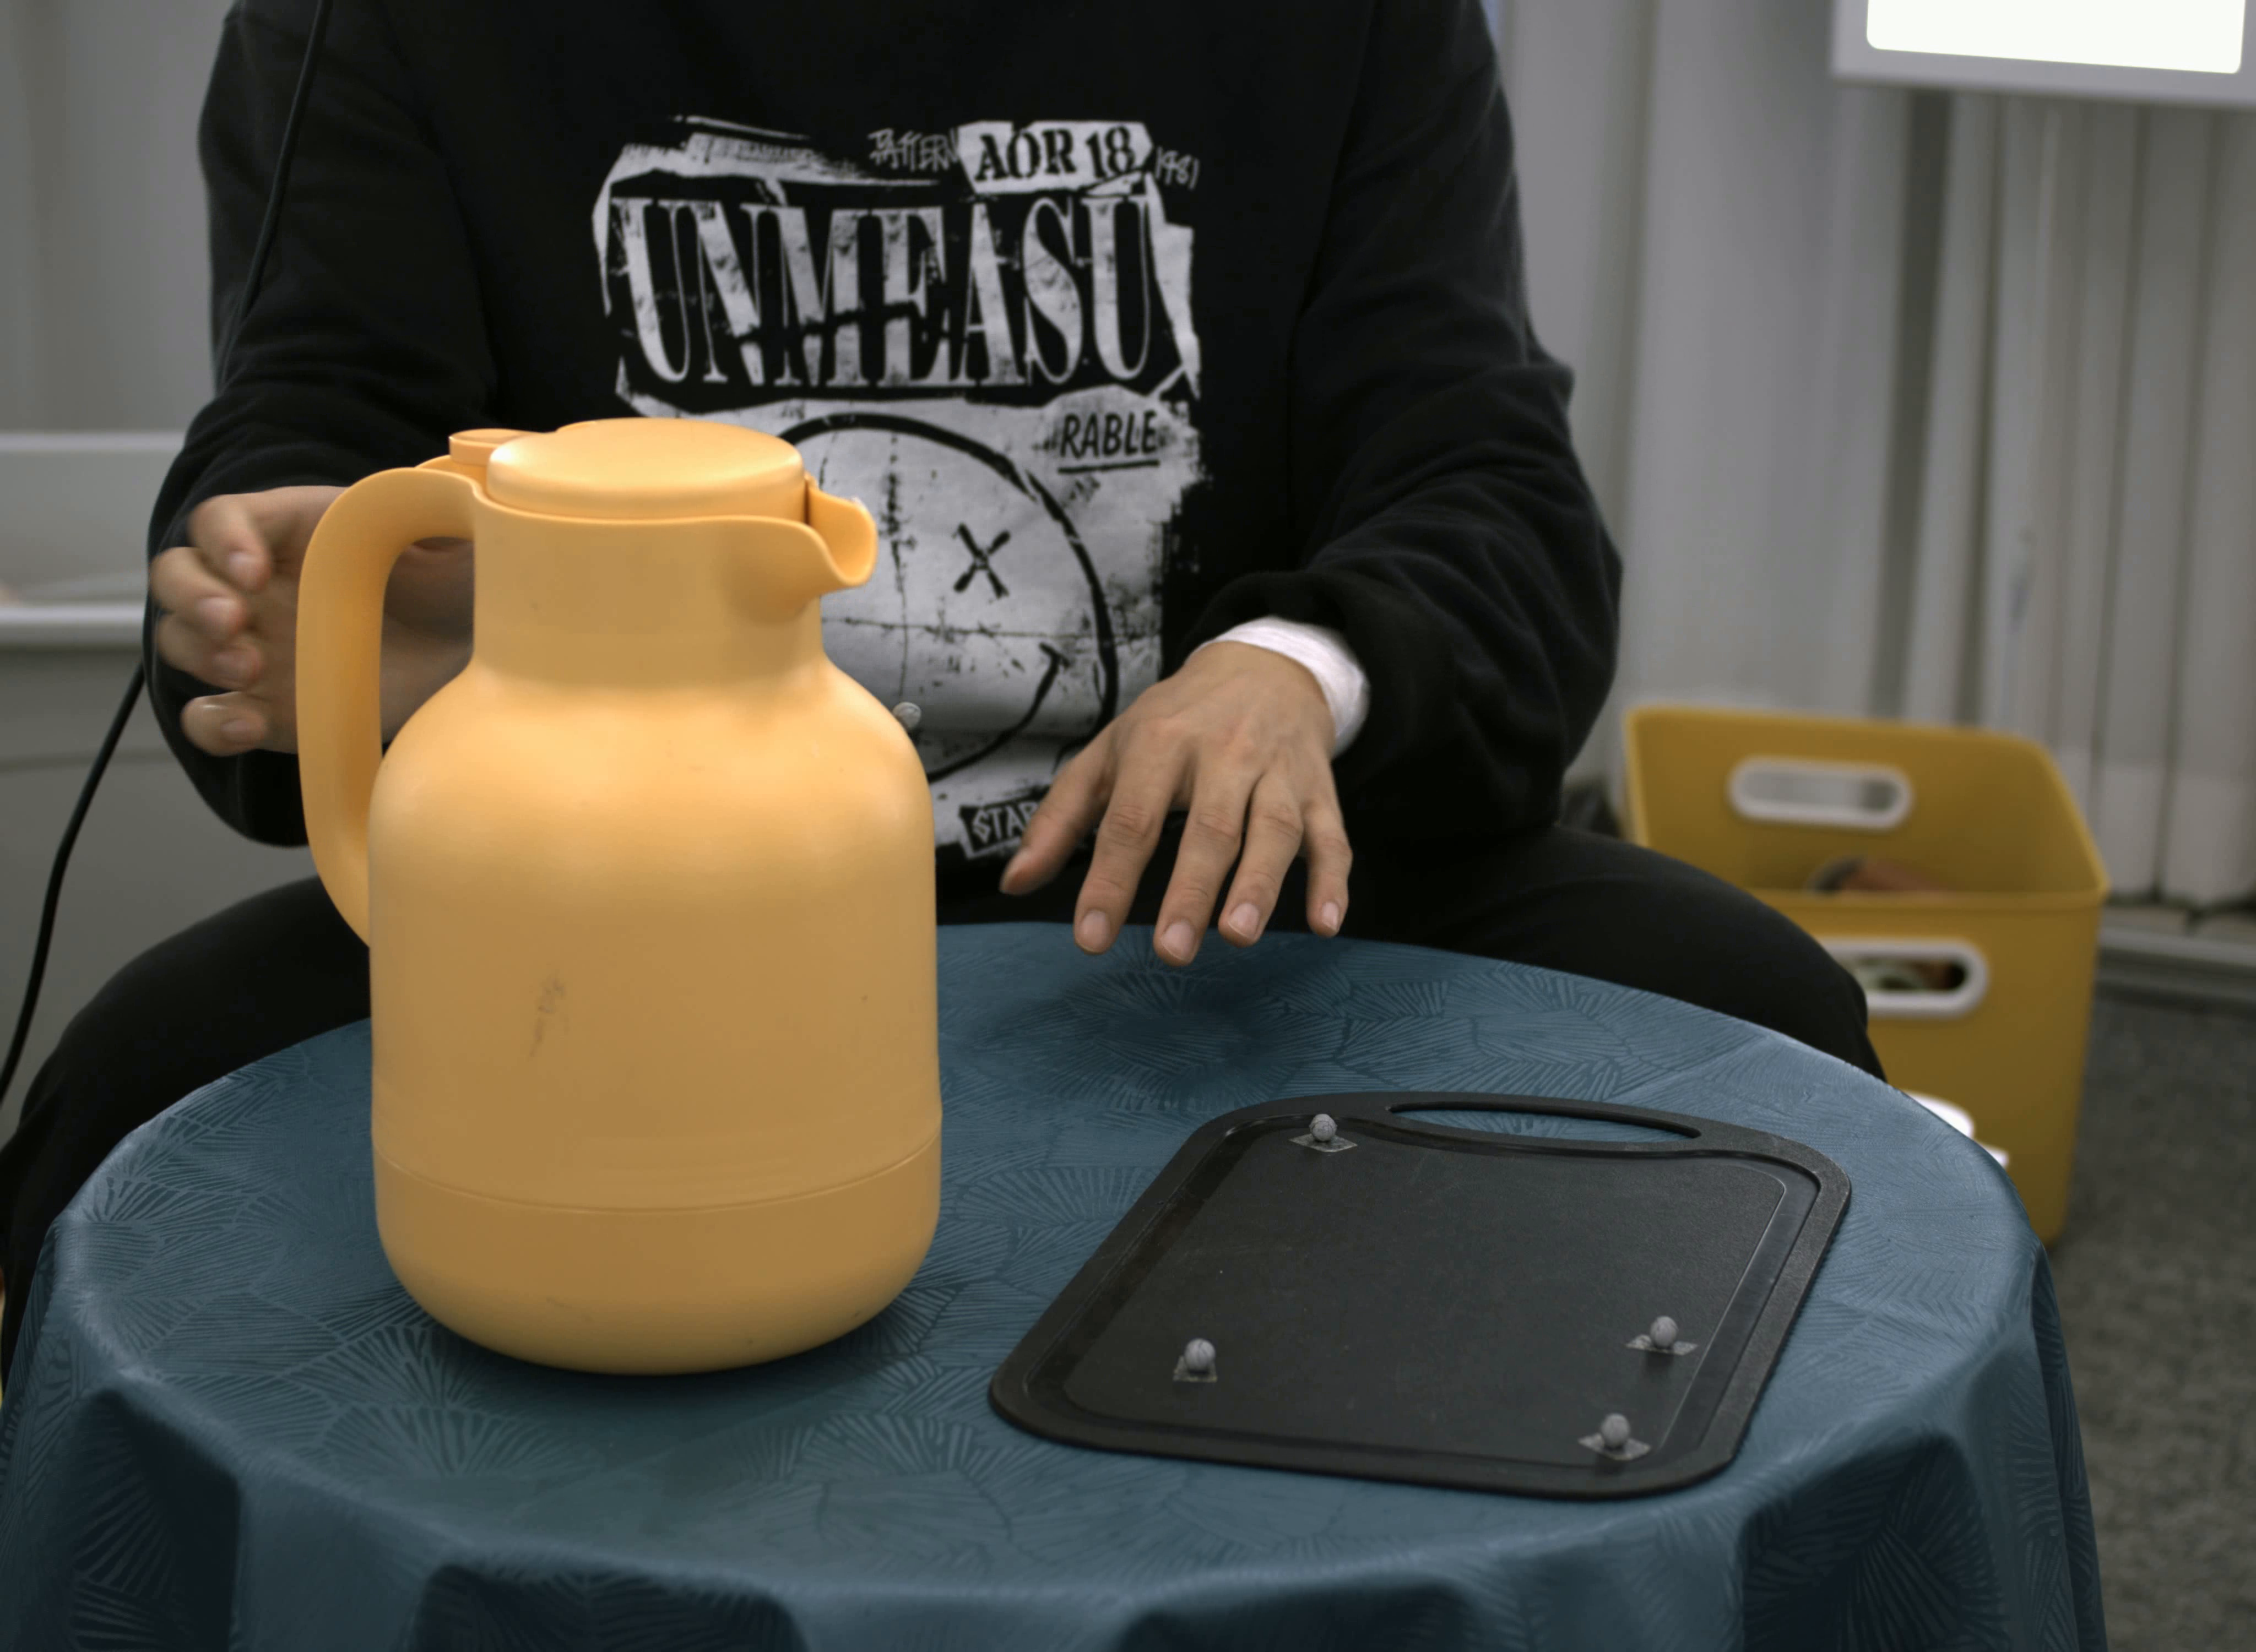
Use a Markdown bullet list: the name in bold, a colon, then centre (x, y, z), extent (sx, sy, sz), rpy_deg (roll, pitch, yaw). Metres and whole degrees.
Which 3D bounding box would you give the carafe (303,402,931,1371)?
- **carafe**: centre (-0.151, 0.009, 1.495), extent (0.200, 0.262, 0.164), rpy_deg (14, 18, 33)

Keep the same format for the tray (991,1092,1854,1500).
- **tray**: centre (0.095, 0.129, 1.553), extent (0.209, 0.010, 0.325), rpy_deg (5, 16, 15)
